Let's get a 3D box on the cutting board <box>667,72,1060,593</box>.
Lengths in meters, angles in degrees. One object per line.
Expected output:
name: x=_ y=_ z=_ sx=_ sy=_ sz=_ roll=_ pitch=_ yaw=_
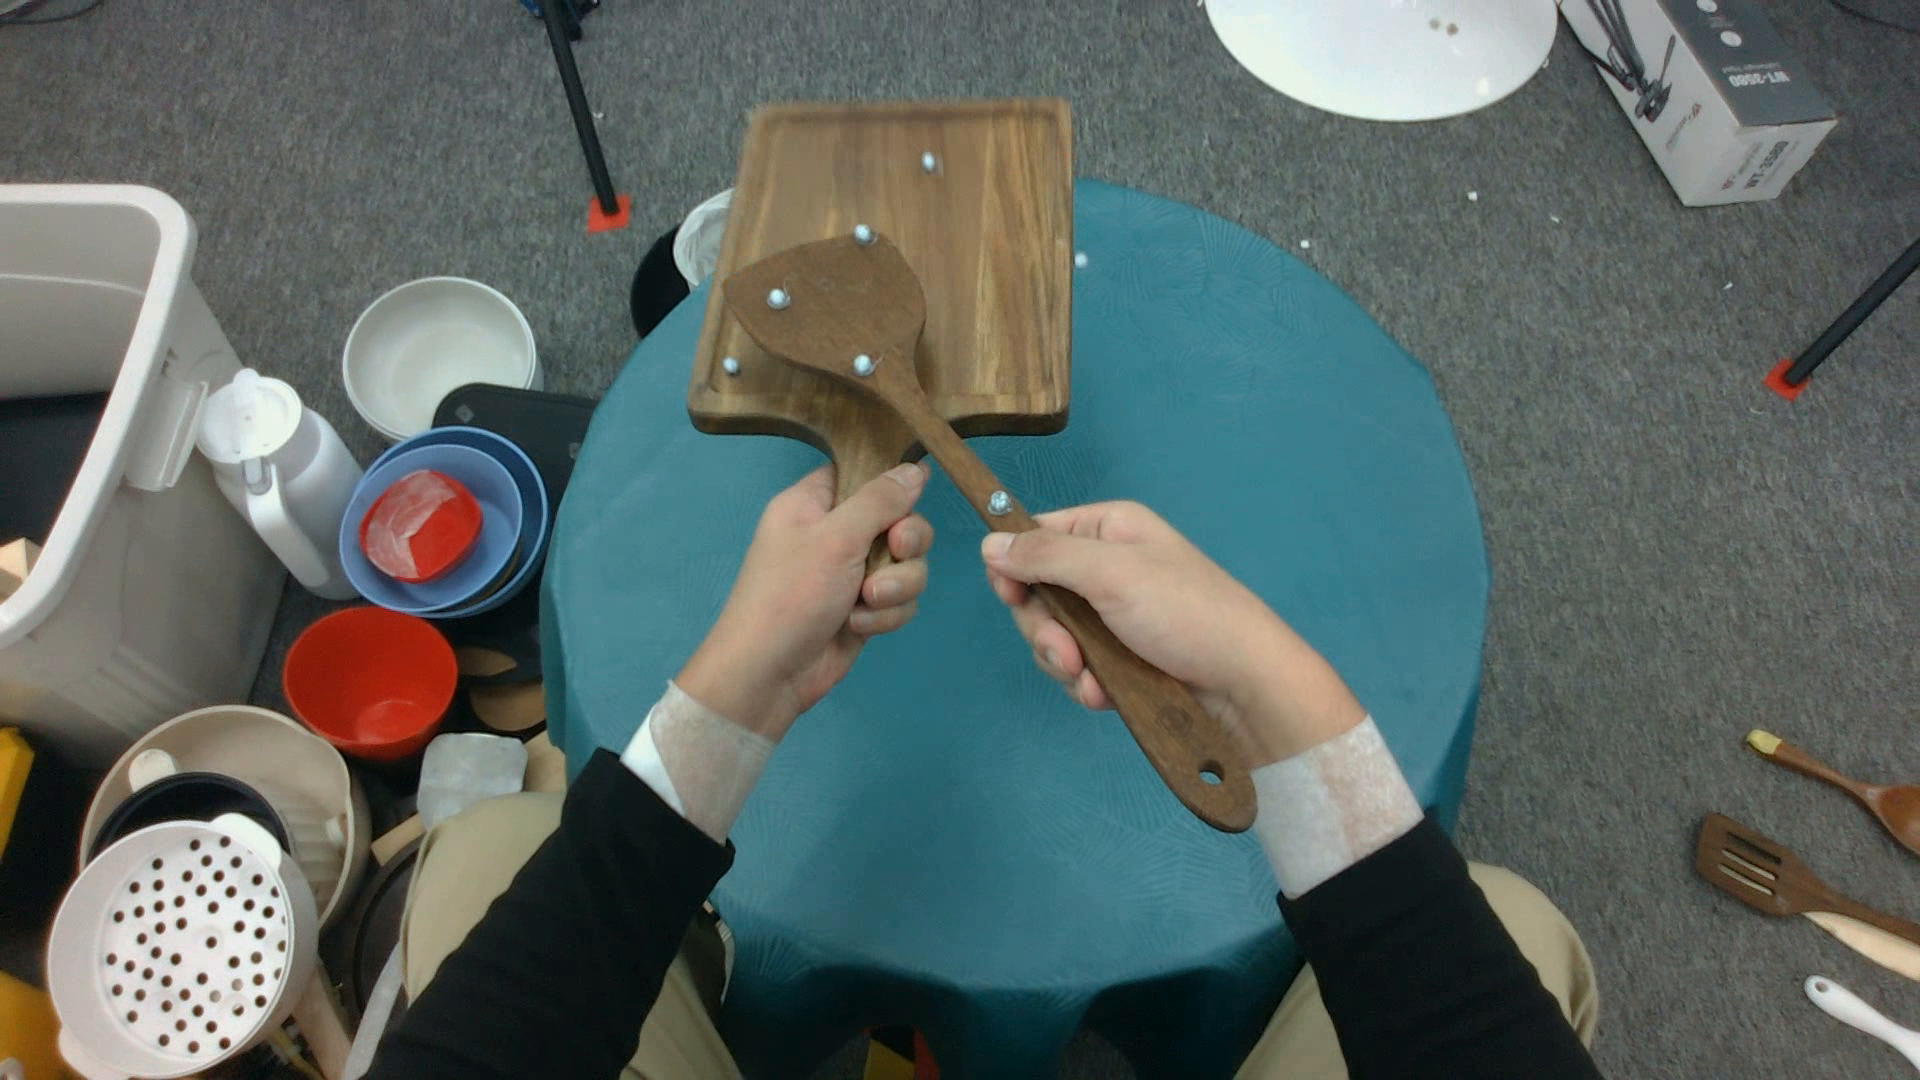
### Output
cutting board: x=-0.048 y=-0.127 z=0.730 sx=0.201 sy=0.023 sz=0.353 roll=0 pitch=56 yaw=4

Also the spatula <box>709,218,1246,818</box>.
spatula: x=0.003 y=-0.030 z=0.603 sx=0.096 sy=0.016 sz=0.386 roll=-23 pitch=52 yaw=-20
